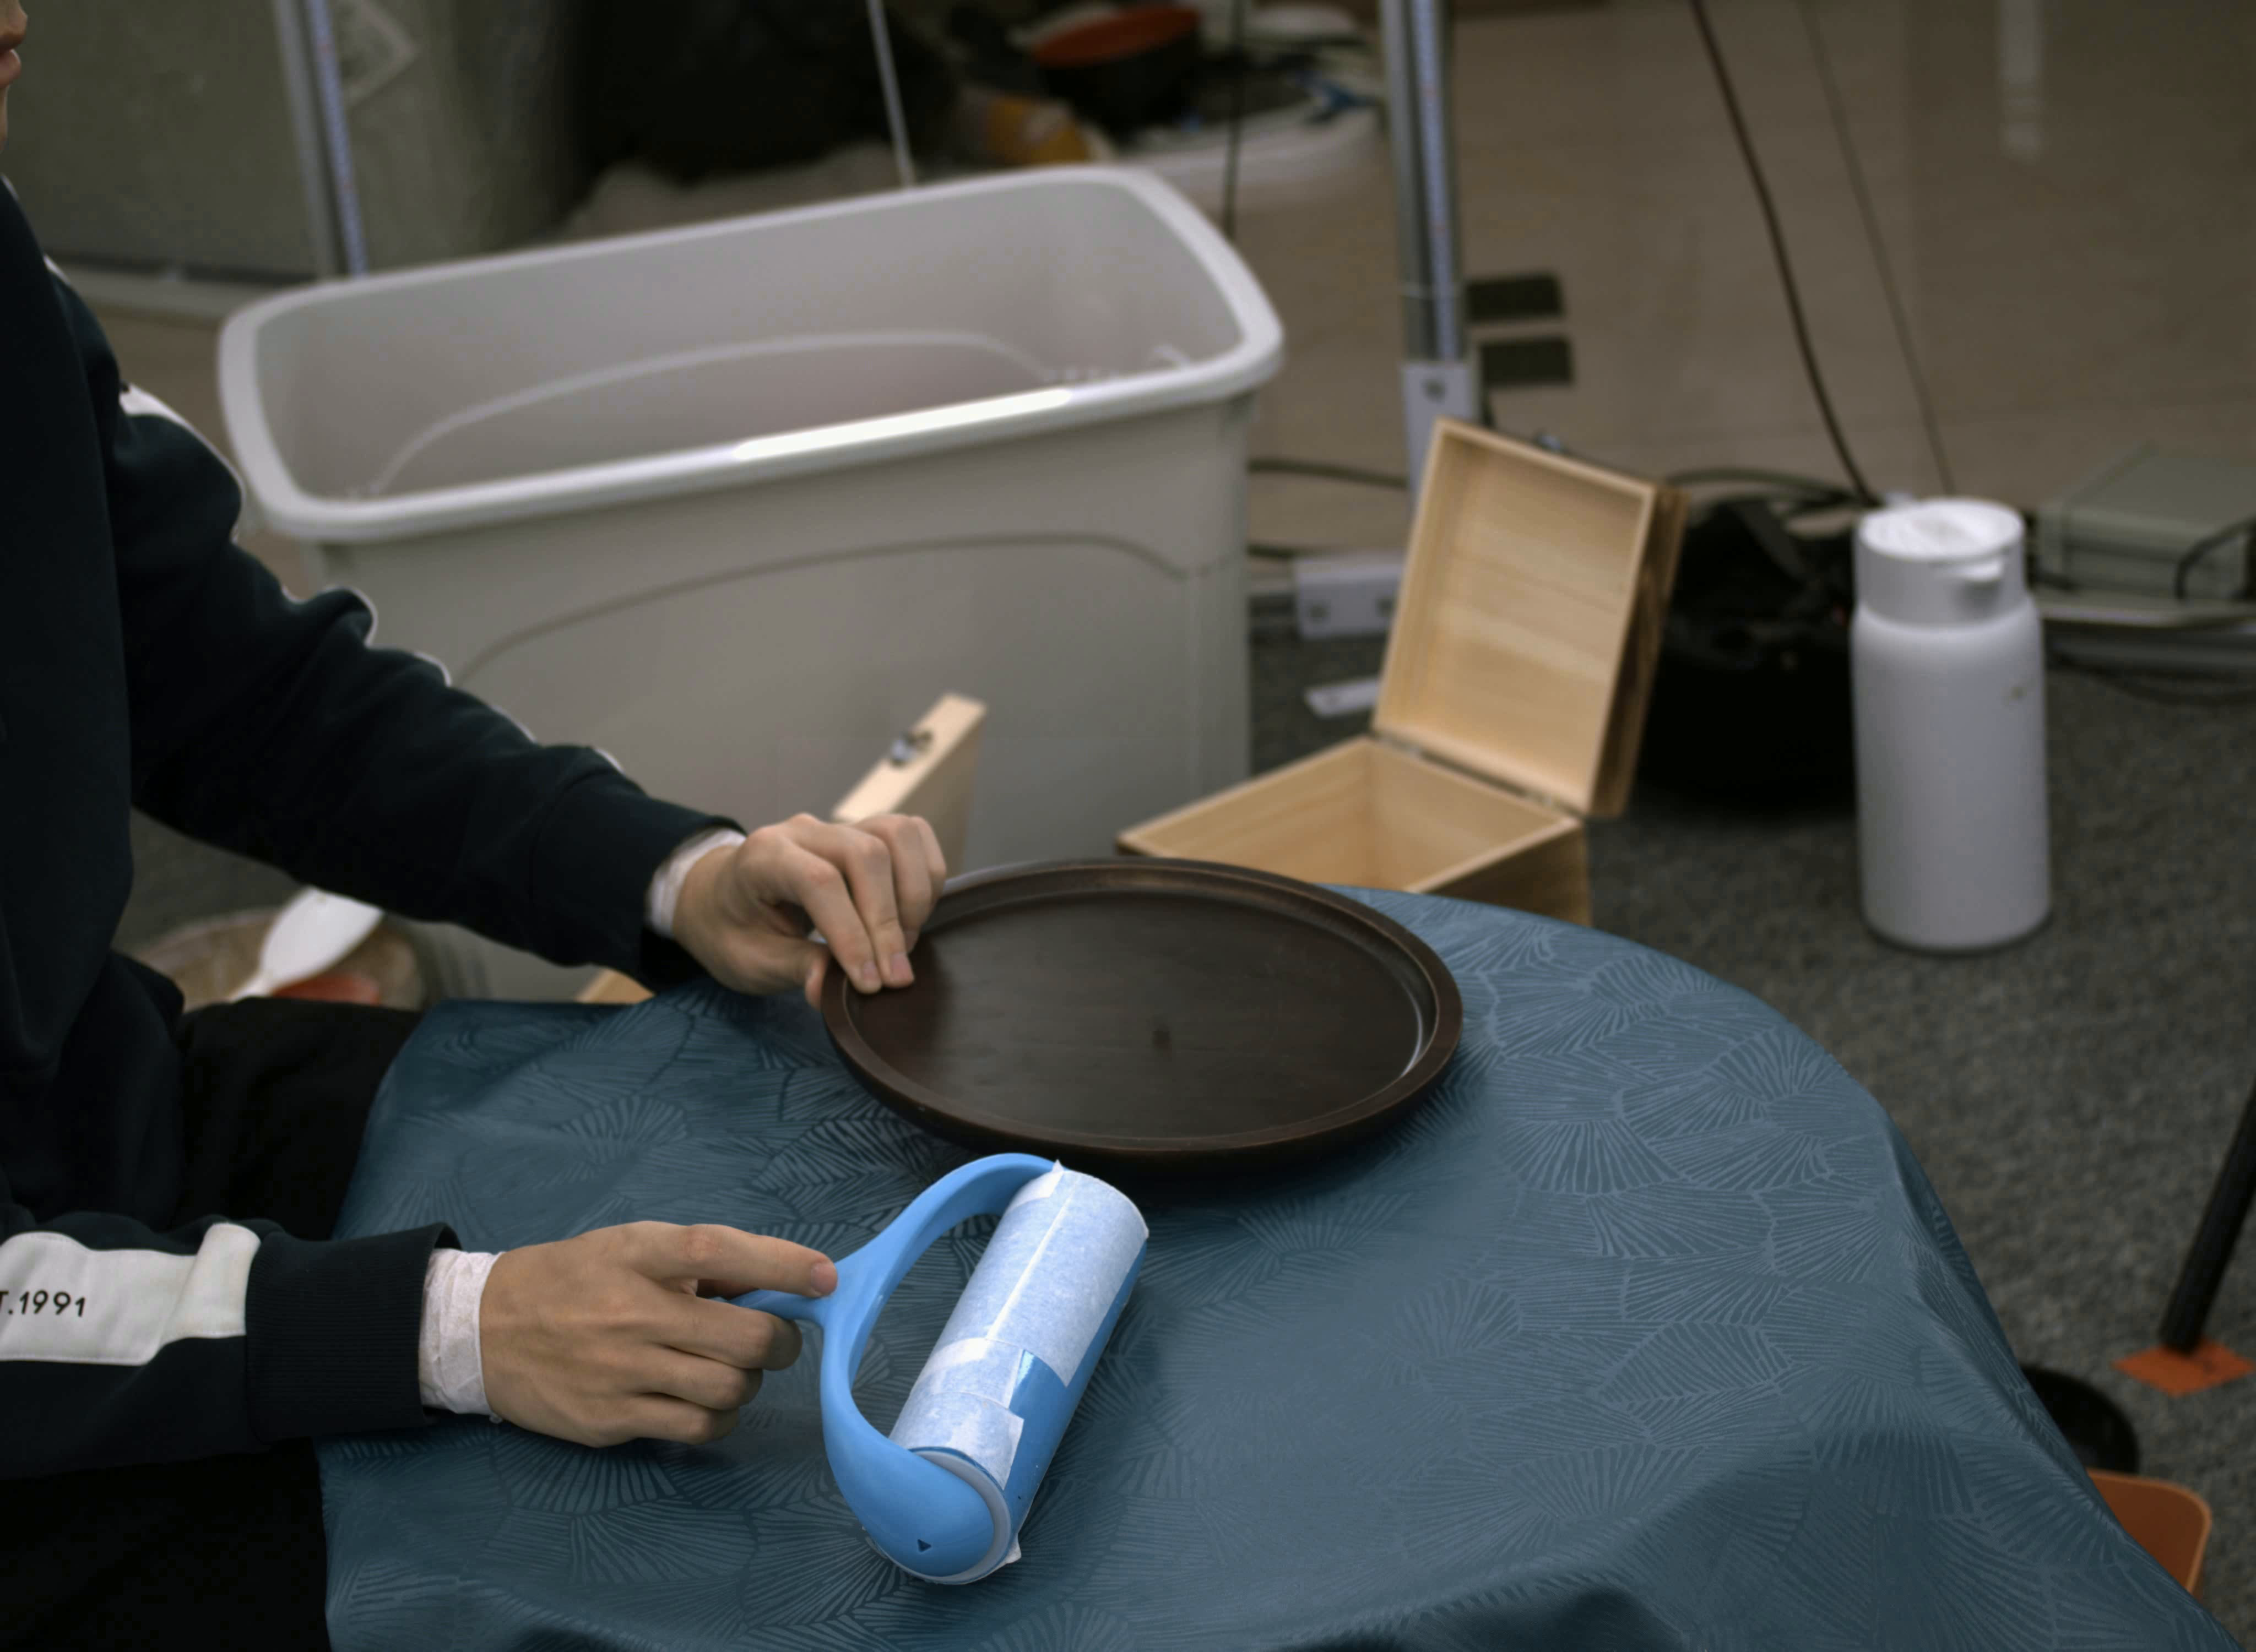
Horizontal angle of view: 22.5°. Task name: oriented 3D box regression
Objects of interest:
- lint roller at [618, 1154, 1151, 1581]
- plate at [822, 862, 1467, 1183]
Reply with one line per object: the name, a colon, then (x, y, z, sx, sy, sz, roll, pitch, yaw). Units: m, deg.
lint roller: (-0.097, 0.188, 1.994, 0.180, 0.069, 0.225, 0, 27, 12)
plate: (0.006, 0.075, 2.216, 0.254, 0.029, 0.251, 3, 25, -1)
